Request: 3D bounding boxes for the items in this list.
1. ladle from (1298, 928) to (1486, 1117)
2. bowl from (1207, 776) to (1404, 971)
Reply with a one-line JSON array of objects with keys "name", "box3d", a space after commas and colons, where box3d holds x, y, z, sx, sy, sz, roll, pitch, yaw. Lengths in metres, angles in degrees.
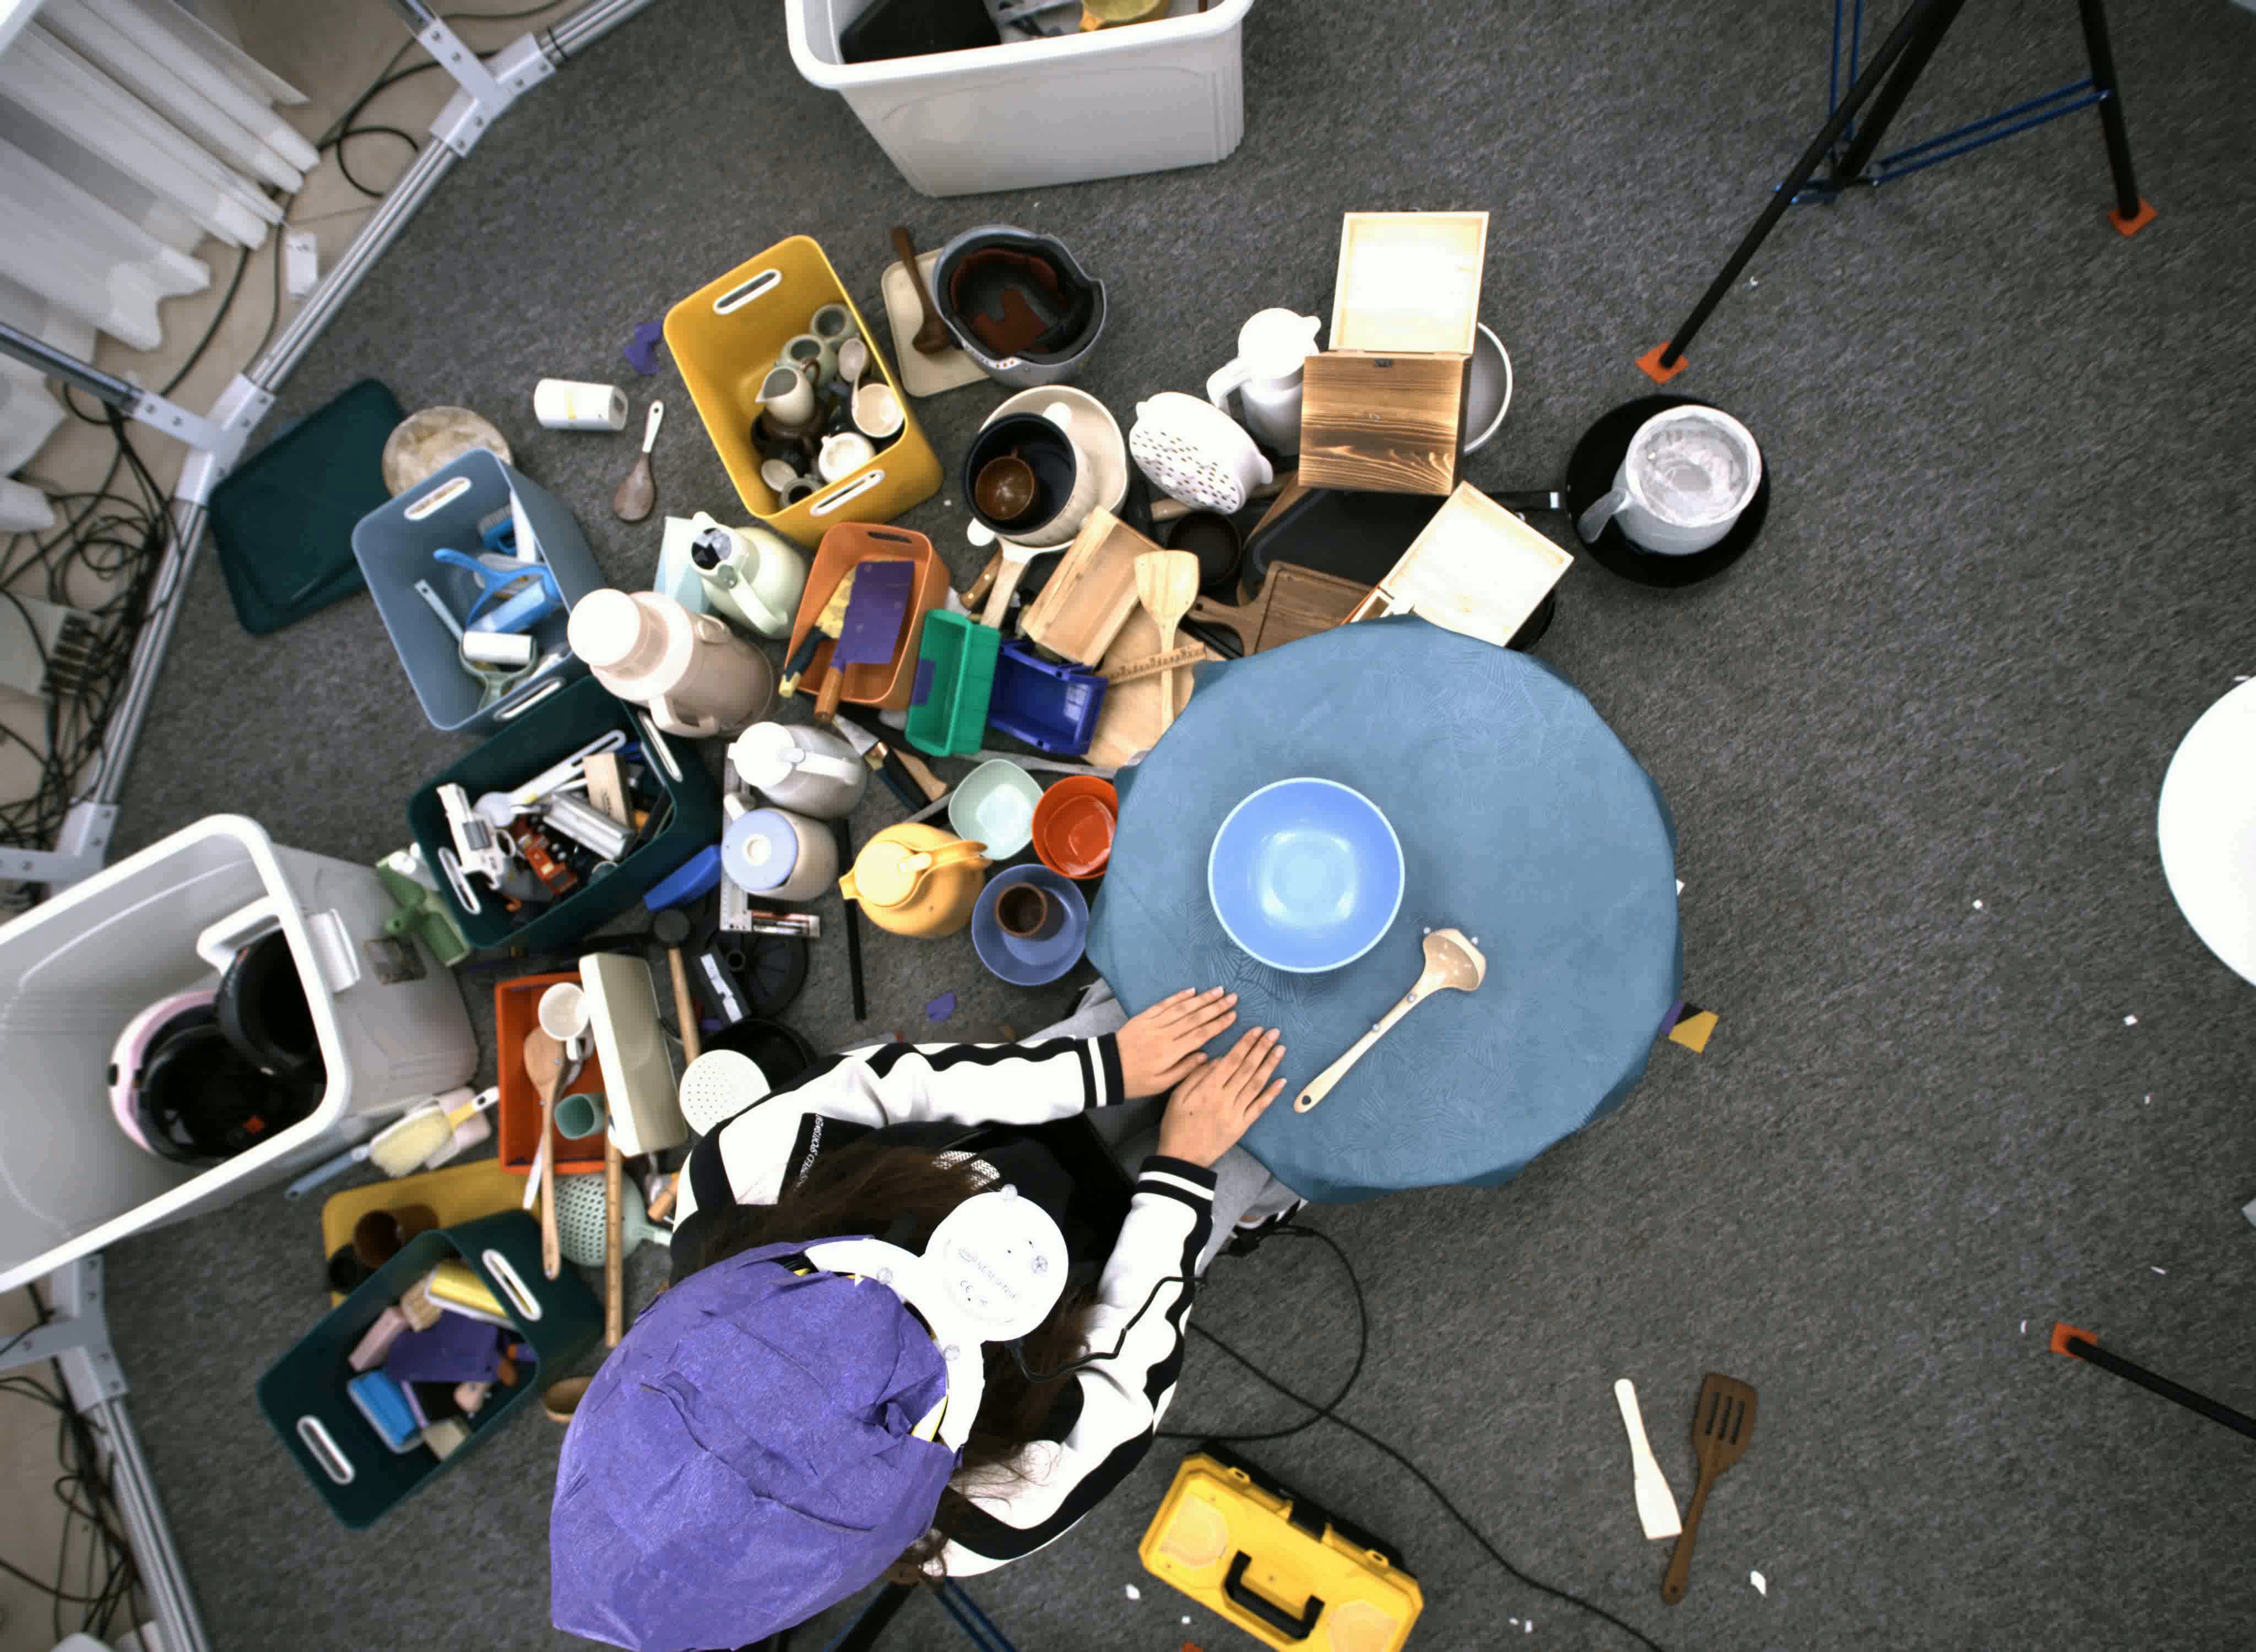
[{"name": "ladle", "box3d": [0.263, 0.207, 1.417, 0.072, 0.073, 0.255, 44, 95, 11]}, {"name": "bowl", "box3d": [0.183, 0.053, 1.427, 0.197, 0.096, 0.195, -1, 83, 9]}]
